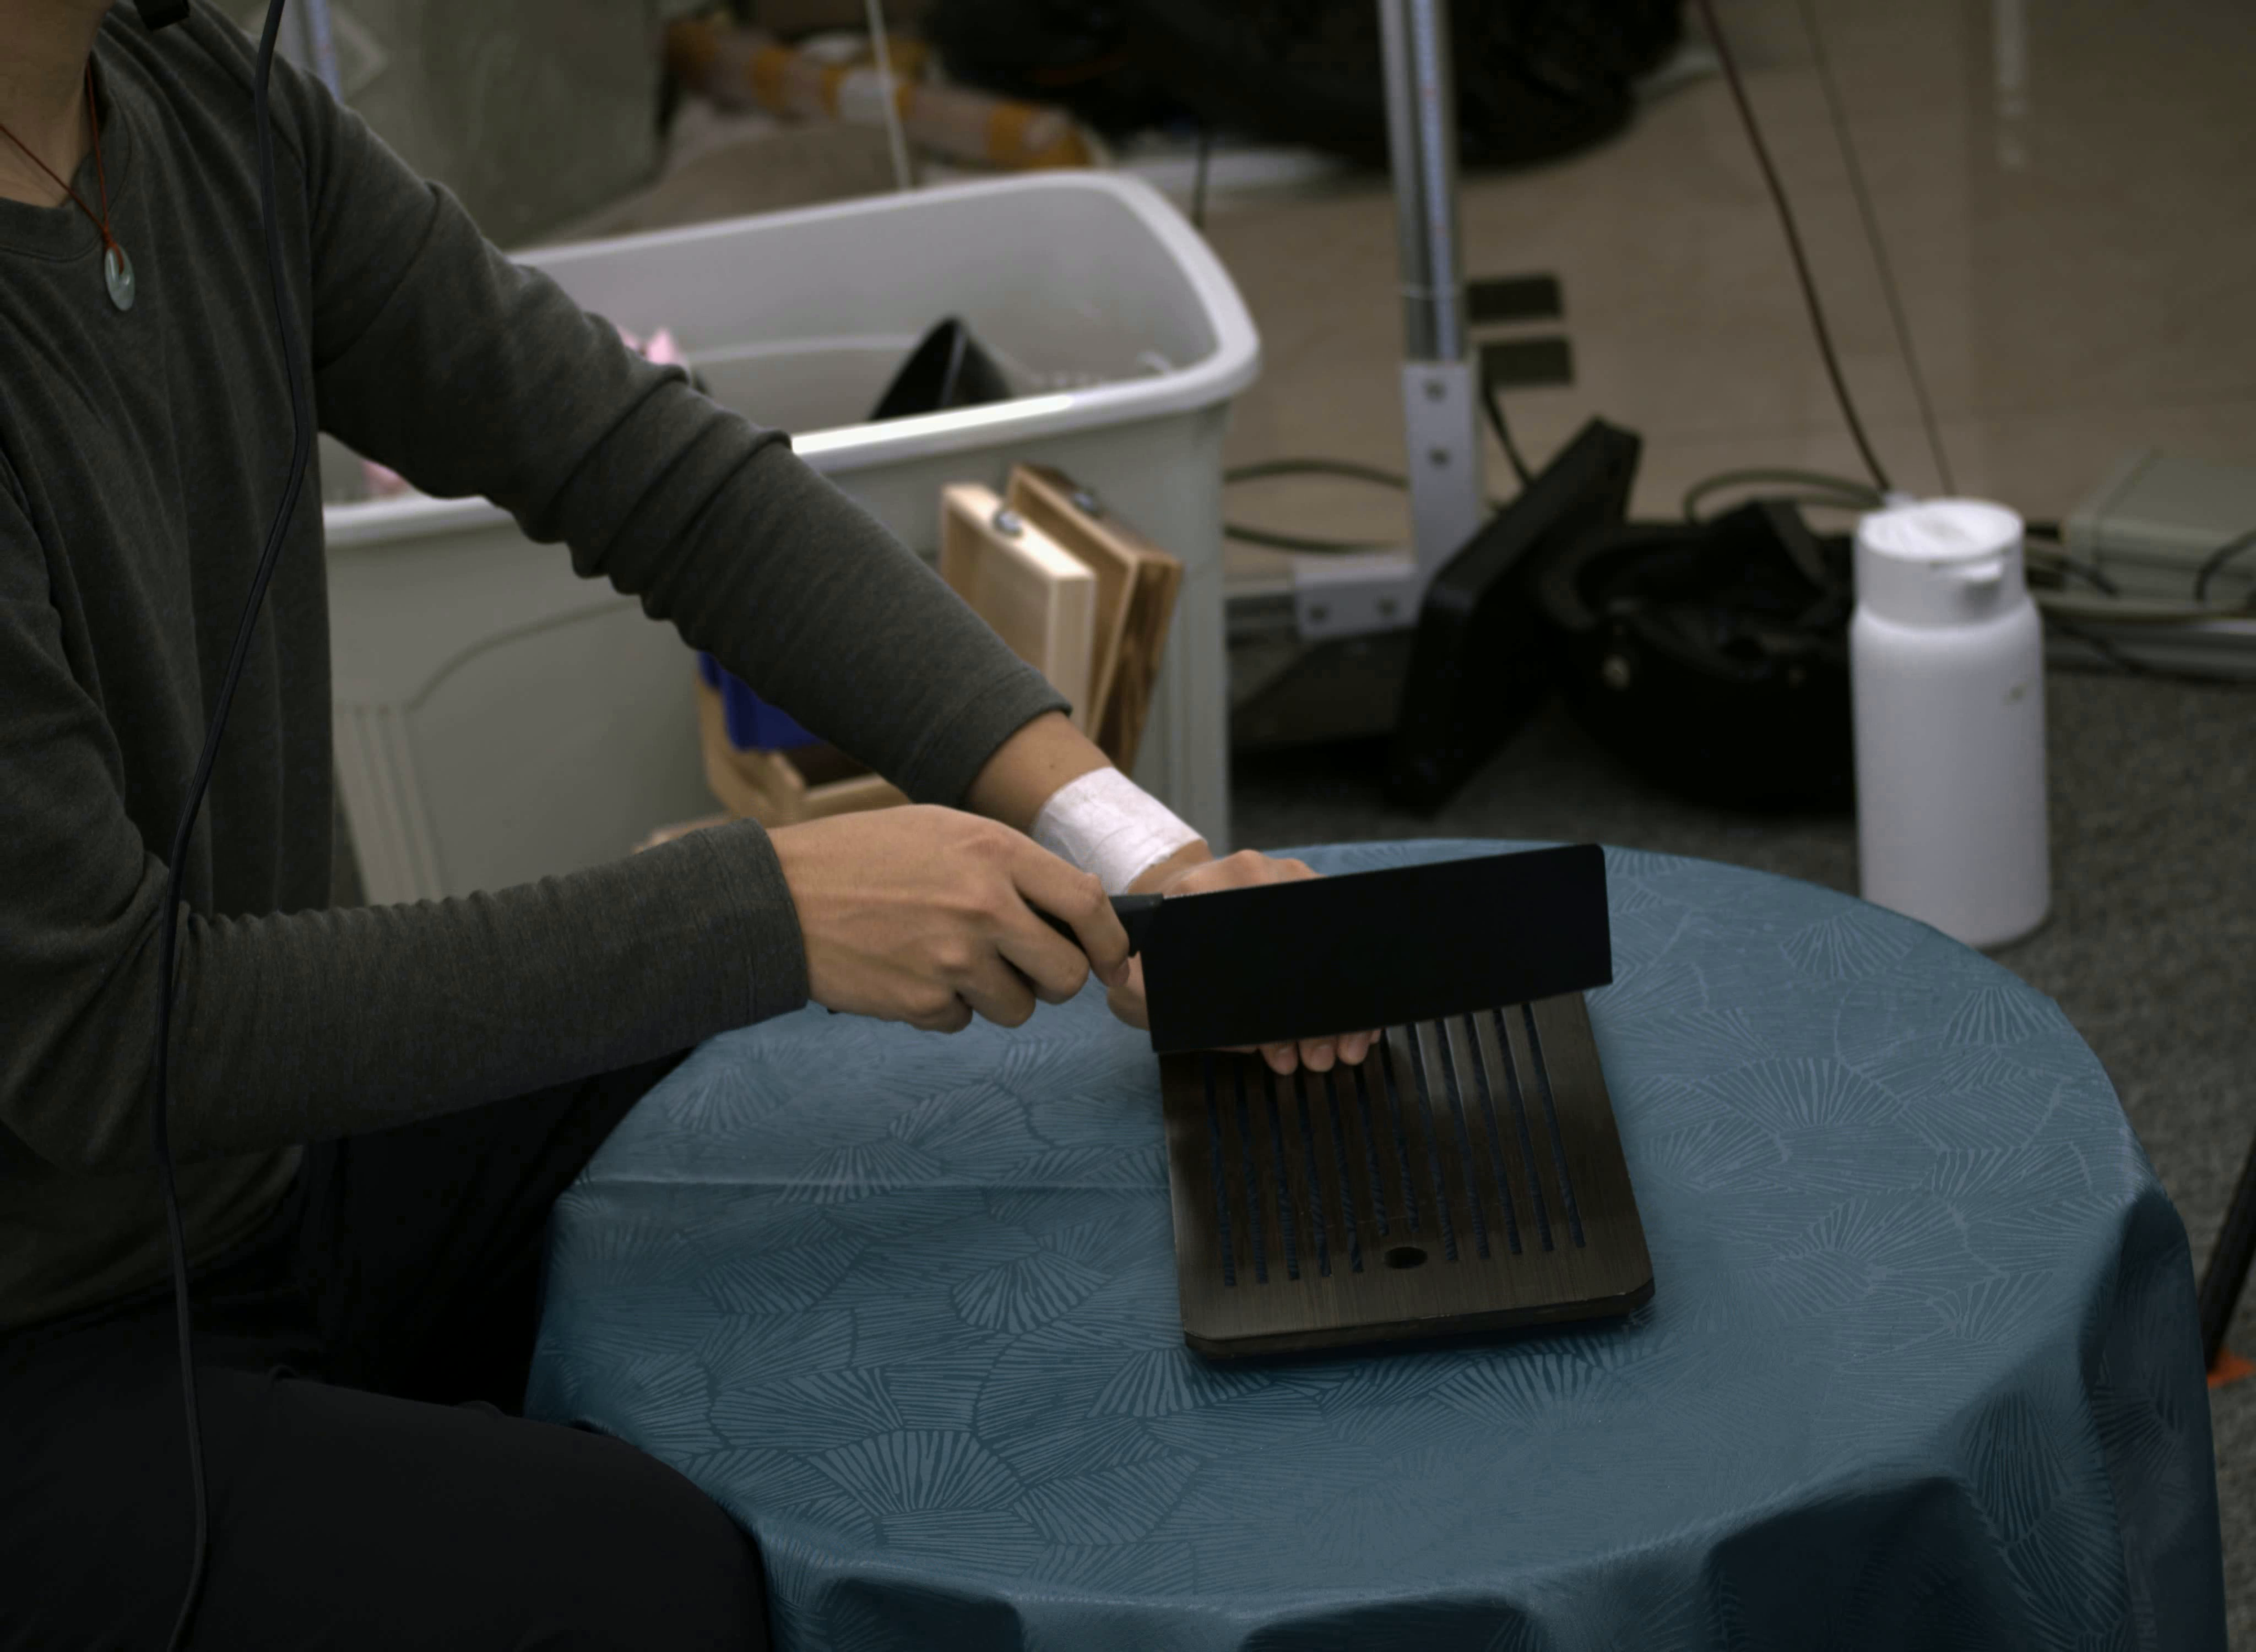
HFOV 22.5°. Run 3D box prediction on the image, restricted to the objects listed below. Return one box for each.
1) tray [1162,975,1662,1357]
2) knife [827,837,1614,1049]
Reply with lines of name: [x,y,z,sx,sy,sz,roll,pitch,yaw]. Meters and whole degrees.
tray: [0.102,0.118,2.149,0.170,0.019,0.301,-7,24,1]
knife: [0.036,0.049,2.160,0.302,0.082,0.020,-3,23,-3]
